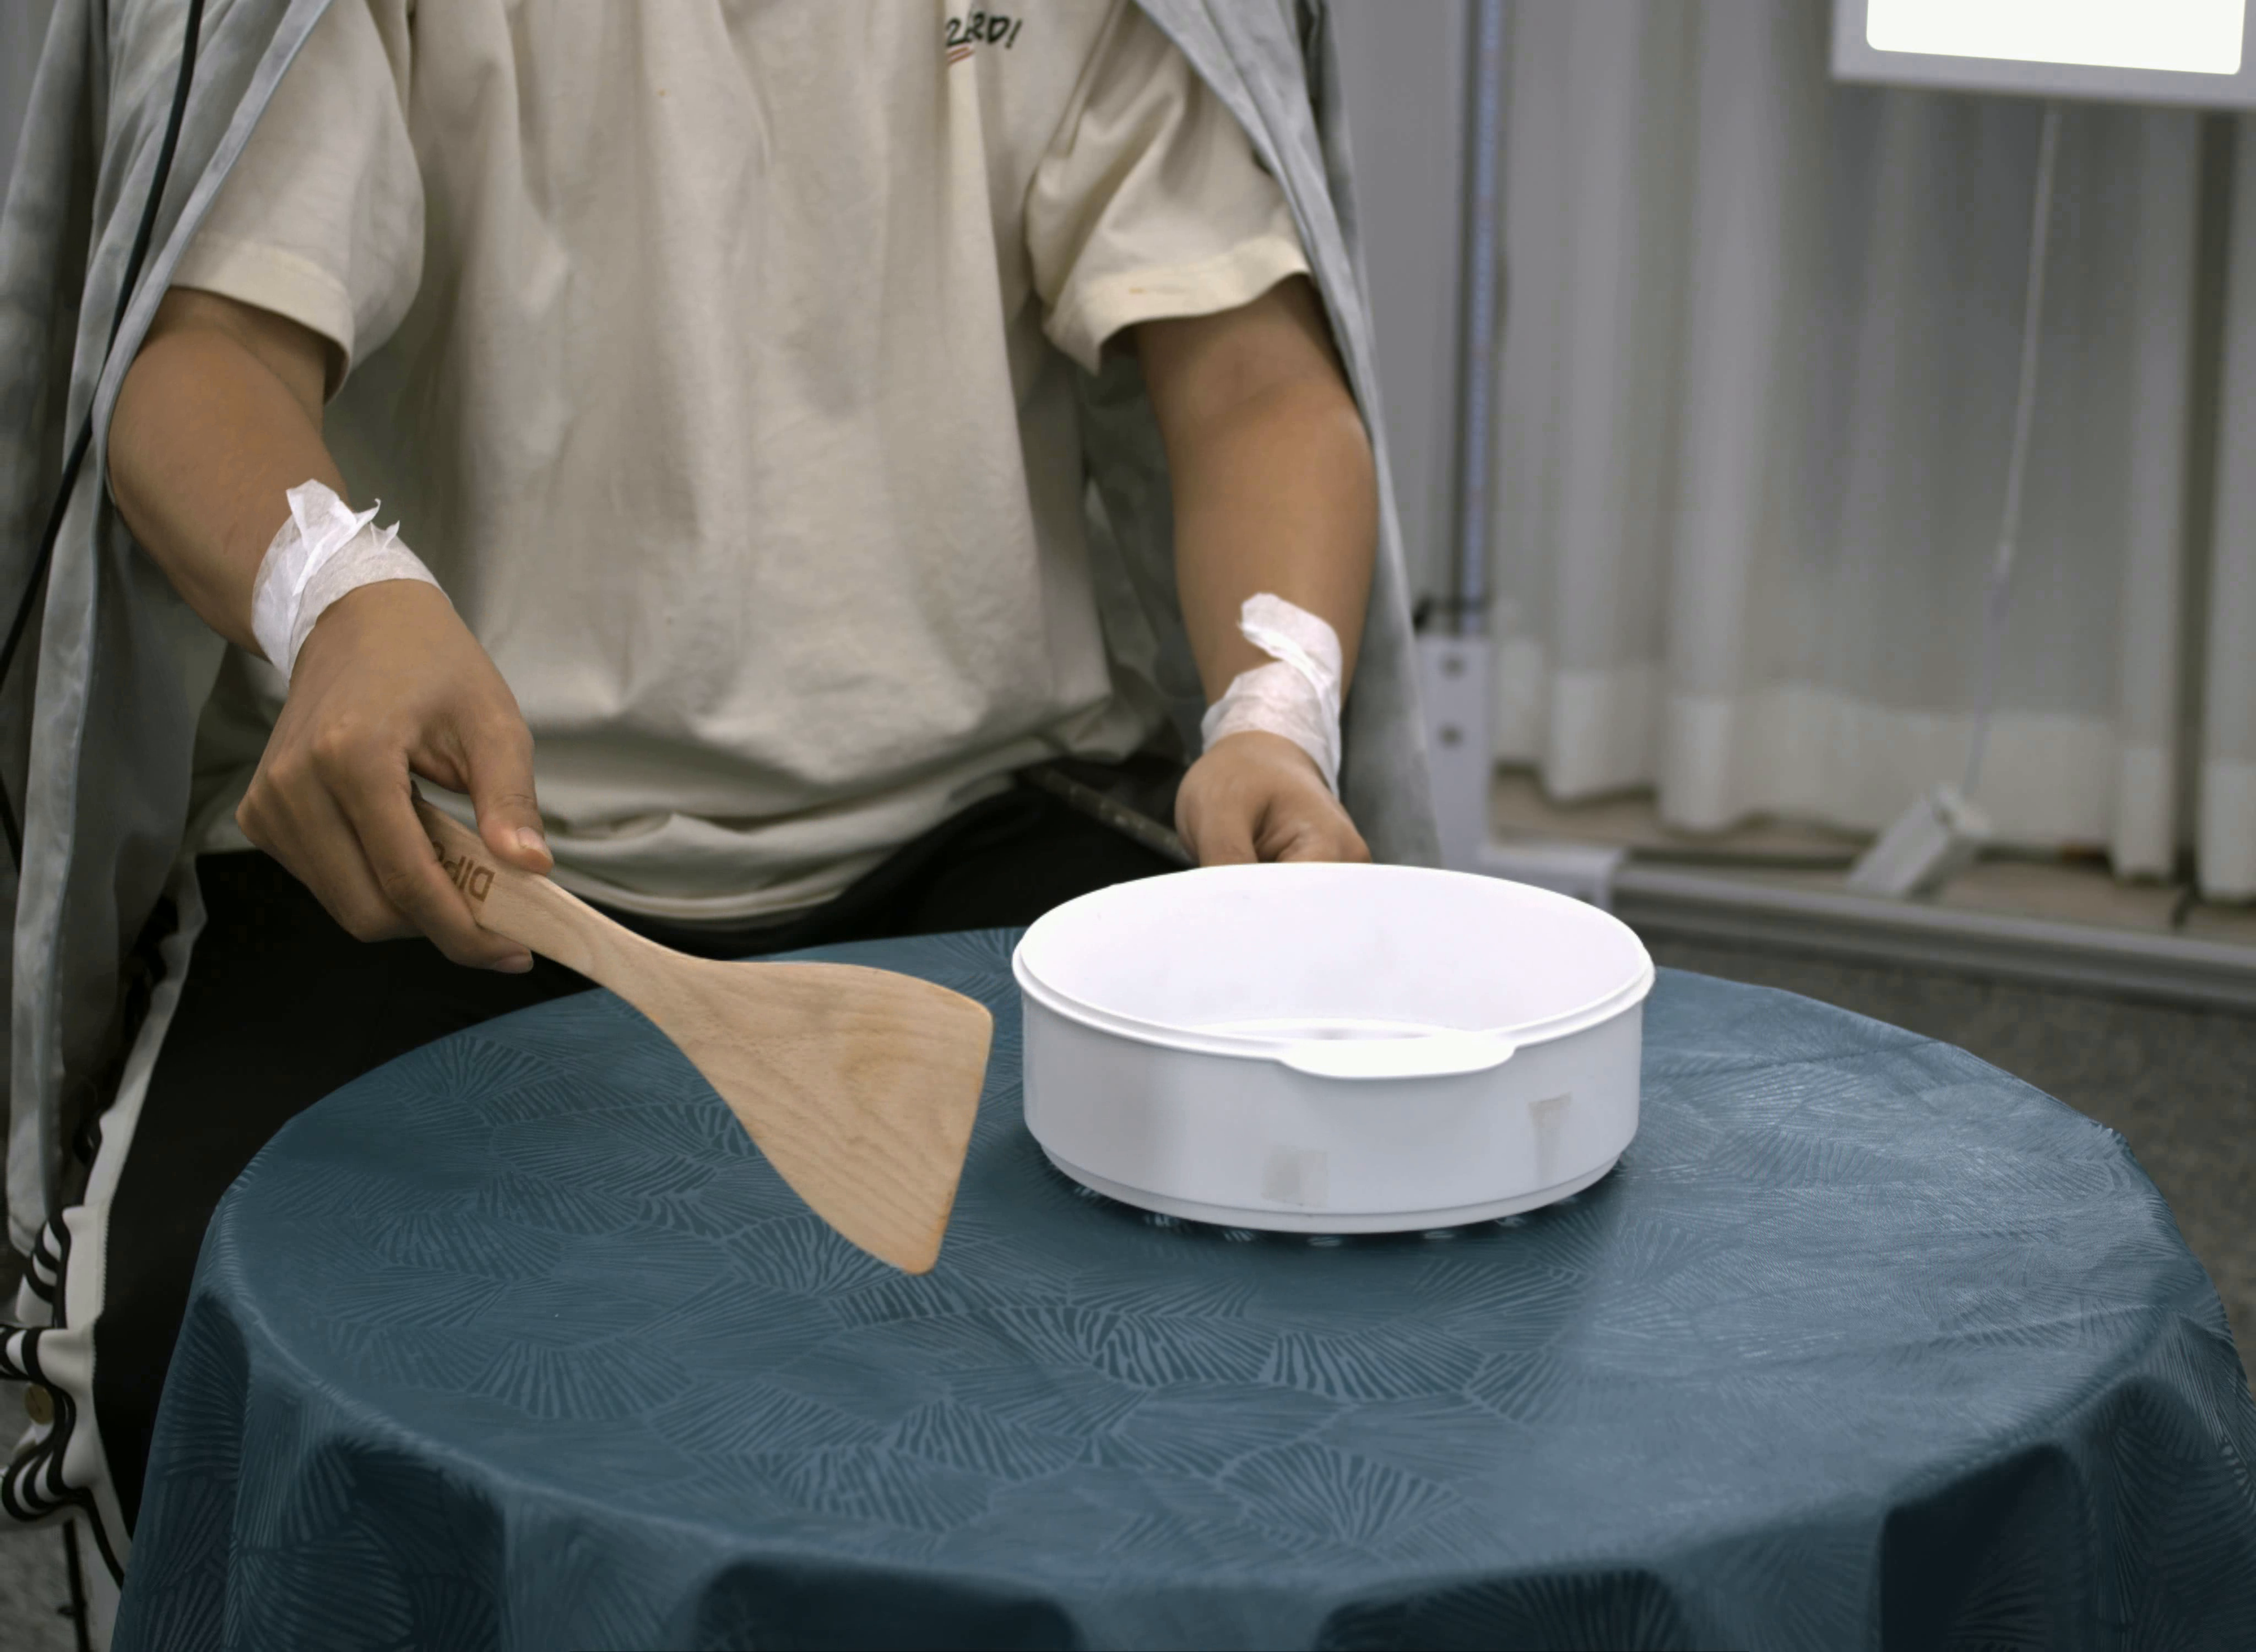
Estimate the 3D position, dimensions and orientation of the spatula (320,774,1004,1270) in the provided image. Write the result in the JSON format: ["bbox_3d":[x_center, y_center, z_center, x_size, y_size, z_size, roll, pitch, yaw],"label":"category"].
[{"bbox_3d":[-0.146,0.041,1.570,0.323,0.080,0.017,25,6,41],"label":"spatula"}]

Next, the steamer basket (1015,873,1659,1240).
[{"bbox_3d":[0.064,0.072,1.652,0.202,0.070,0.228,-1,15,-10],"label":"steamer basket"}]
